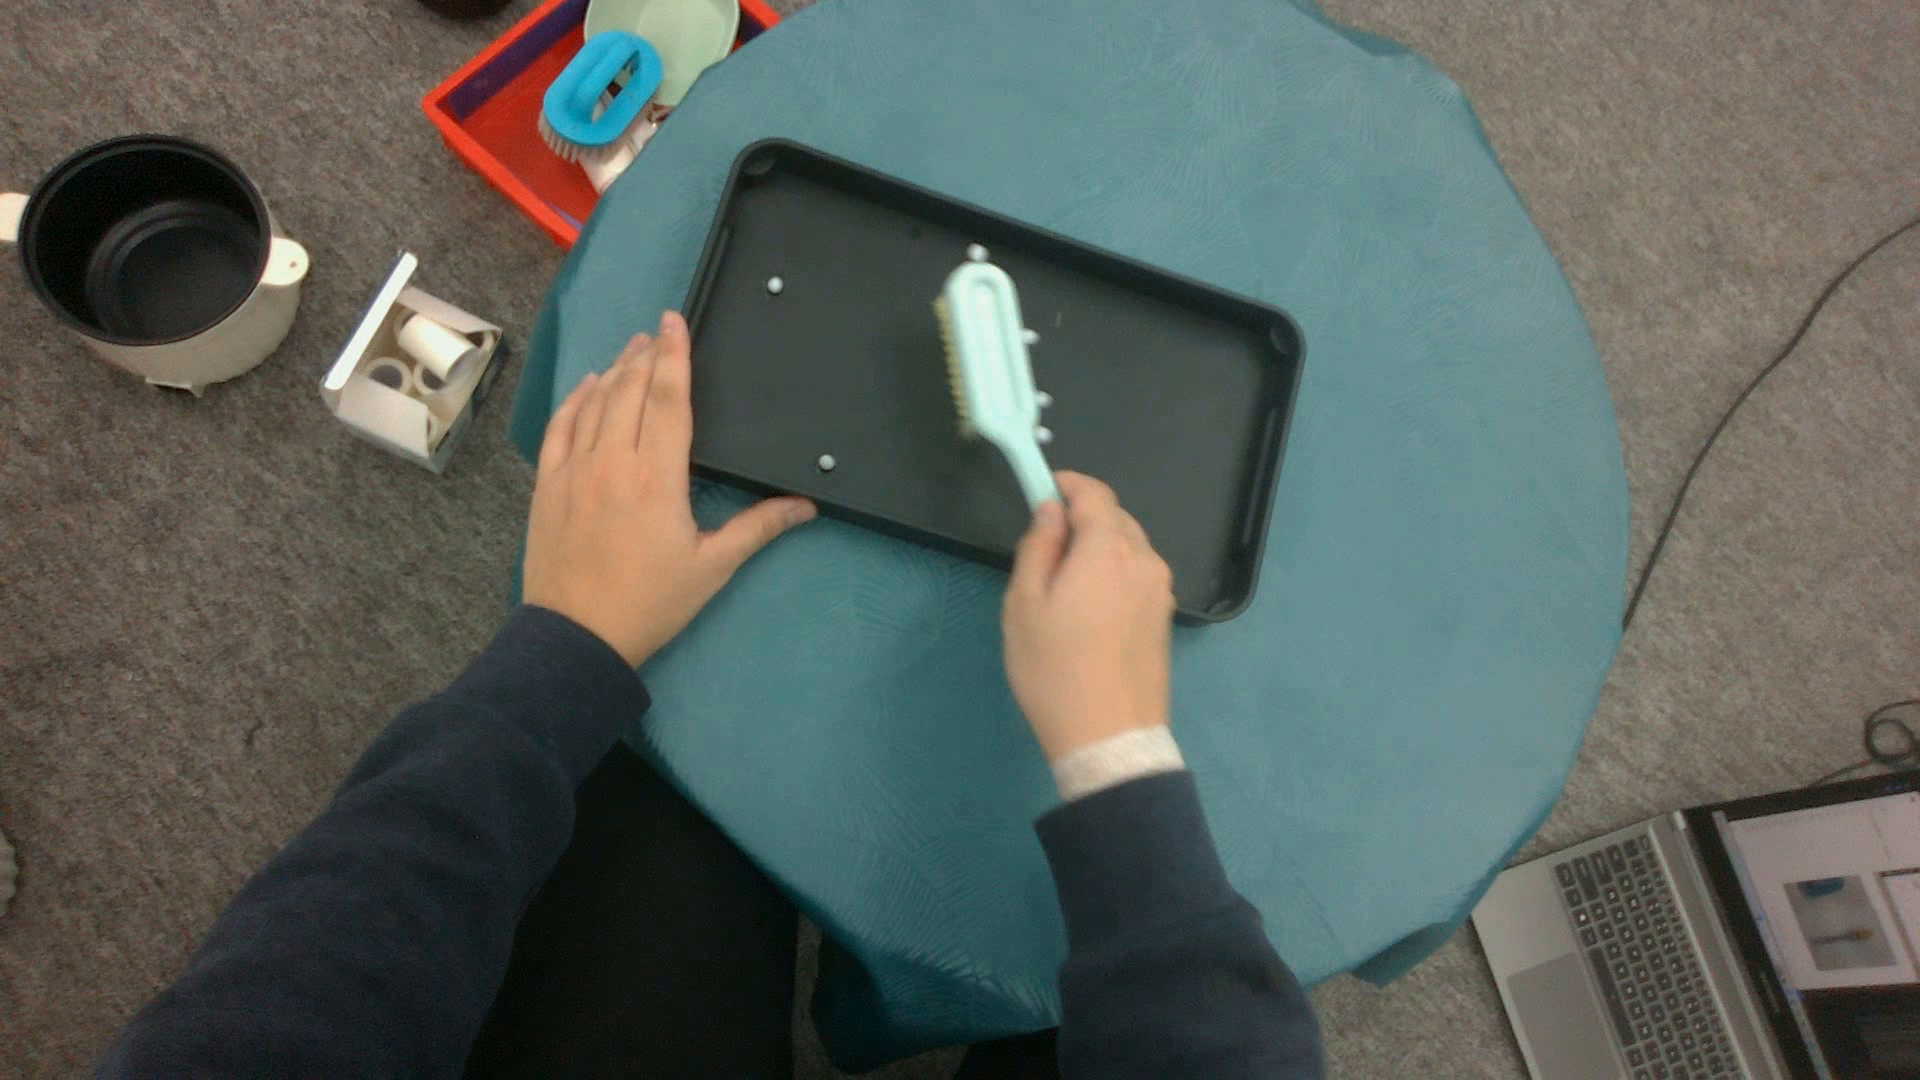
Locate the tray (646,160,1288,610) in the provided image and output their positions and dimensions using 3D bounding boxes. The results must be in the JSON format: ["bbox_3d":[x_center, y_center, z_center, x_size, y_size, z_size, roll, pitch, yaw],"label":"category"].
[{"bbox_3d":[0.009,-0.080,0.730,0.318,0.037,0.185,13,75,-6],"label":"tray"}]

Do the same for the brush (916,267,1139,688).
[{"bbox_3d":[0.033,-0.031,0.681,0.038,0.049,0.229,-14,69,-30],"label":"brush"}]
